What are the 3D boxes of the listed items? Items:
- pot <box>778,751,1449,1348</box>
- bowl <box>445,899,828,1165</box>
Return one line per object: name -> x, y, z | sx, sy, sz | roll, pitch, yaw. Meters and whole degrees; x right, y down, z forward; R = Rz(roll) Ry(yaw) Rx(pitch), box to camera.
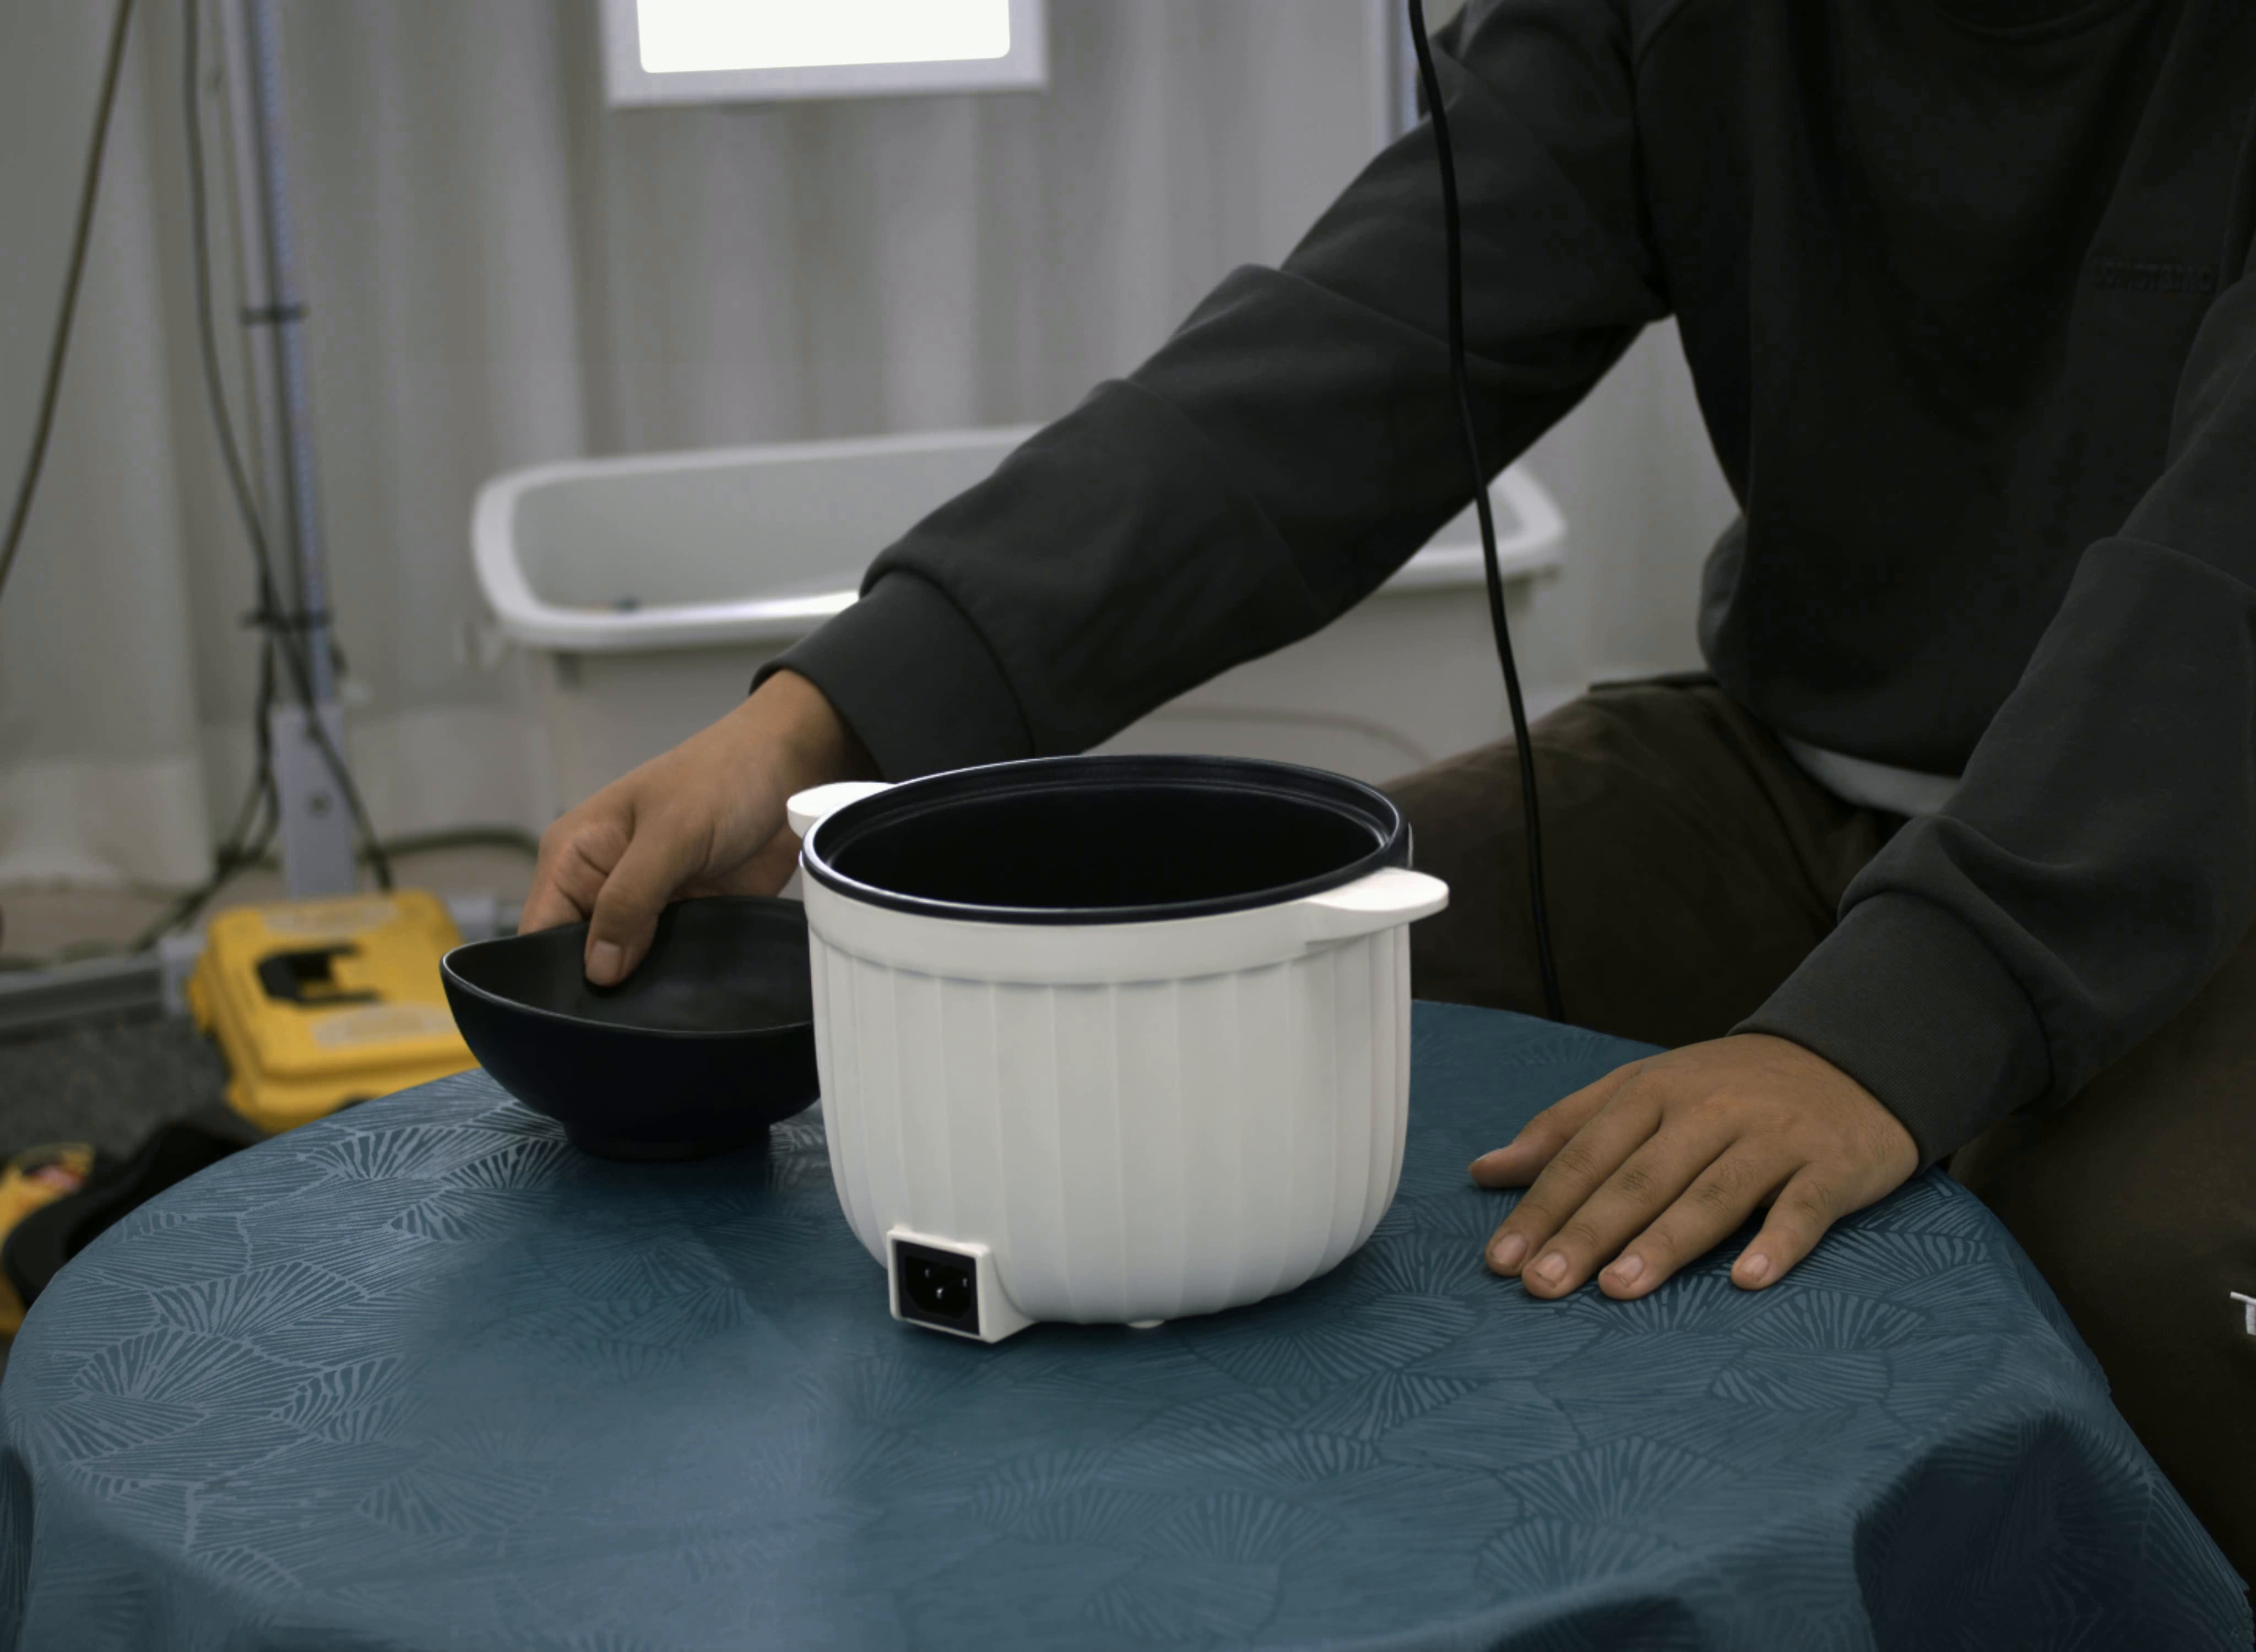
pot -> -0.003, 0.064, 1.643 | 0.241, 0.142, 0.190 | 10, 22, 36
bowl -> -0.151, 0.071, 1.784 | 0.137, 0.066, 0.171 | -12, 17, -32
